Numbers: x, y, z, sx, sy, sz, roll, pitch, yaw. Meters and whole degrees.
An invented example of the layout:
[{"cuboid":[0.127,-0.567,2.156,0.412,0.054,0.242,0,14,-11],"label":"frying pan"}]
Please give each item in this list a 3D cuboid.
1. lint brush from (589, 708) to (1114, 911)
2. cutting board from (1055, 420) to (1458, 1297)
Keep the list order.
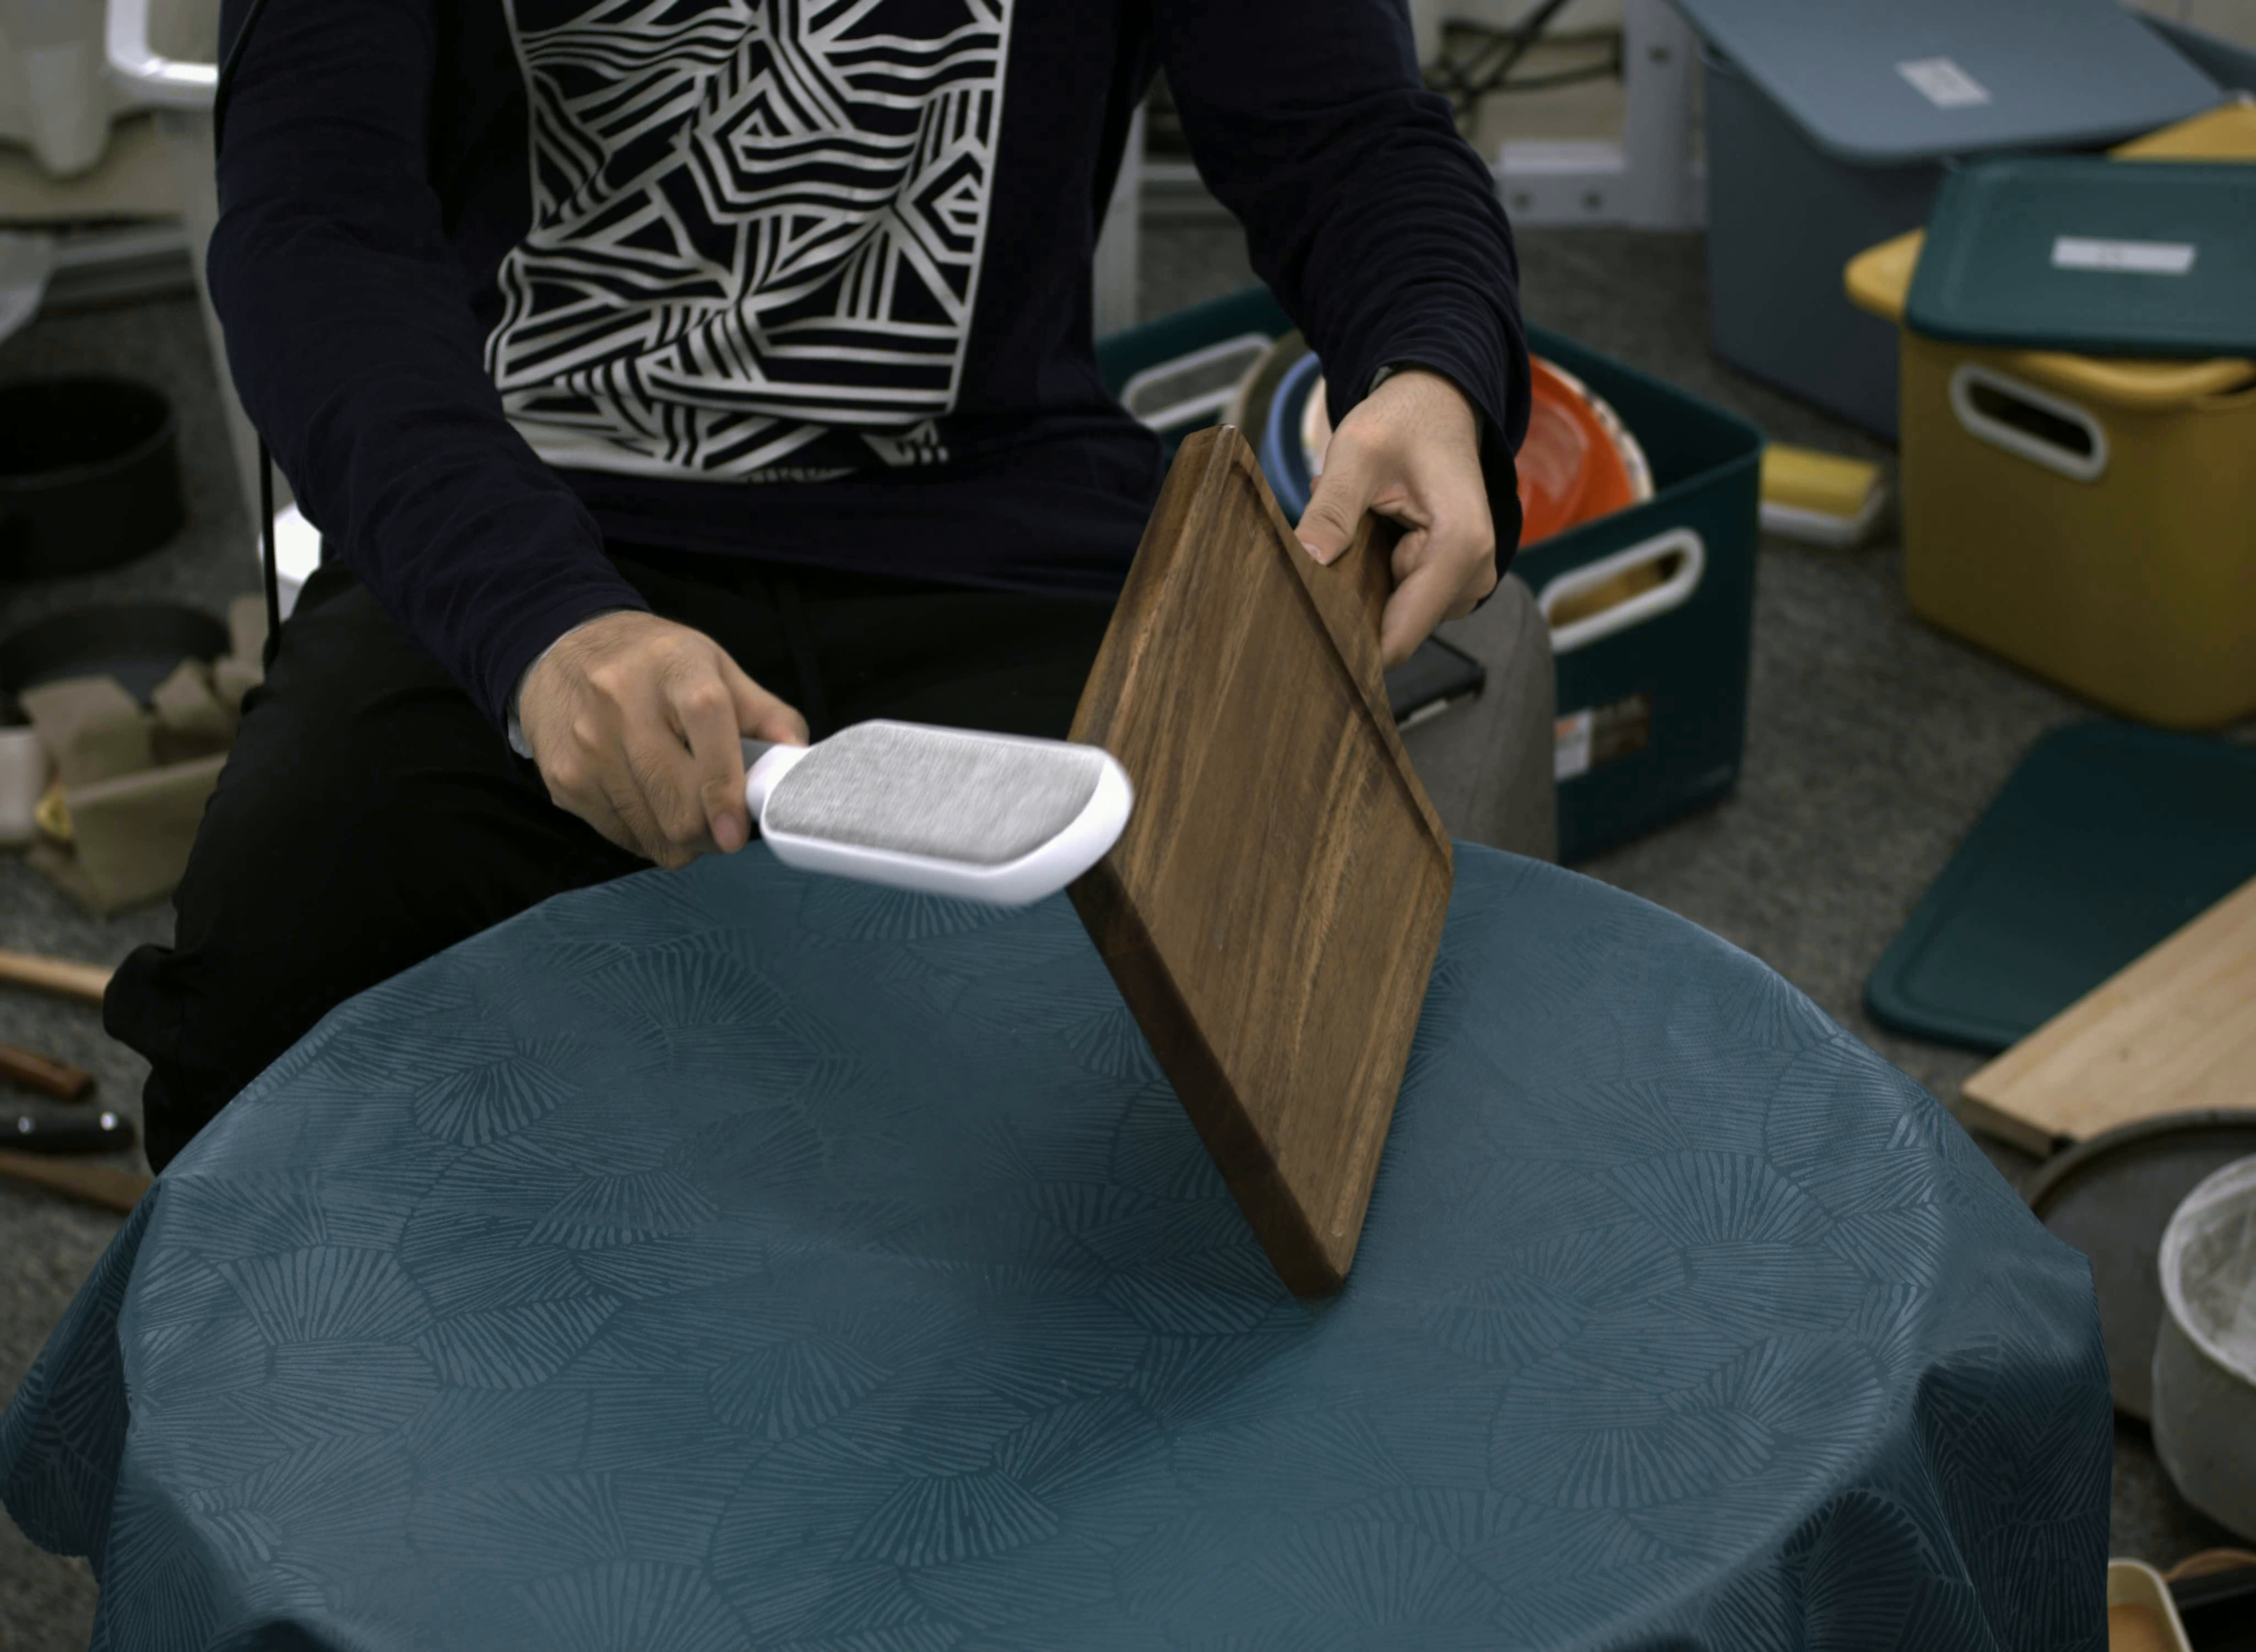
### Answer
[{"cuboid":[-0.095,-0.012,1.795,0.061,0.021,0.307,-51,28,-17],"label":"lint brush"},{"cuboid":[0.053,-0.020,1.898,0.023,0.199,0.359,-18,26,23],"label":"cutting board"}]
